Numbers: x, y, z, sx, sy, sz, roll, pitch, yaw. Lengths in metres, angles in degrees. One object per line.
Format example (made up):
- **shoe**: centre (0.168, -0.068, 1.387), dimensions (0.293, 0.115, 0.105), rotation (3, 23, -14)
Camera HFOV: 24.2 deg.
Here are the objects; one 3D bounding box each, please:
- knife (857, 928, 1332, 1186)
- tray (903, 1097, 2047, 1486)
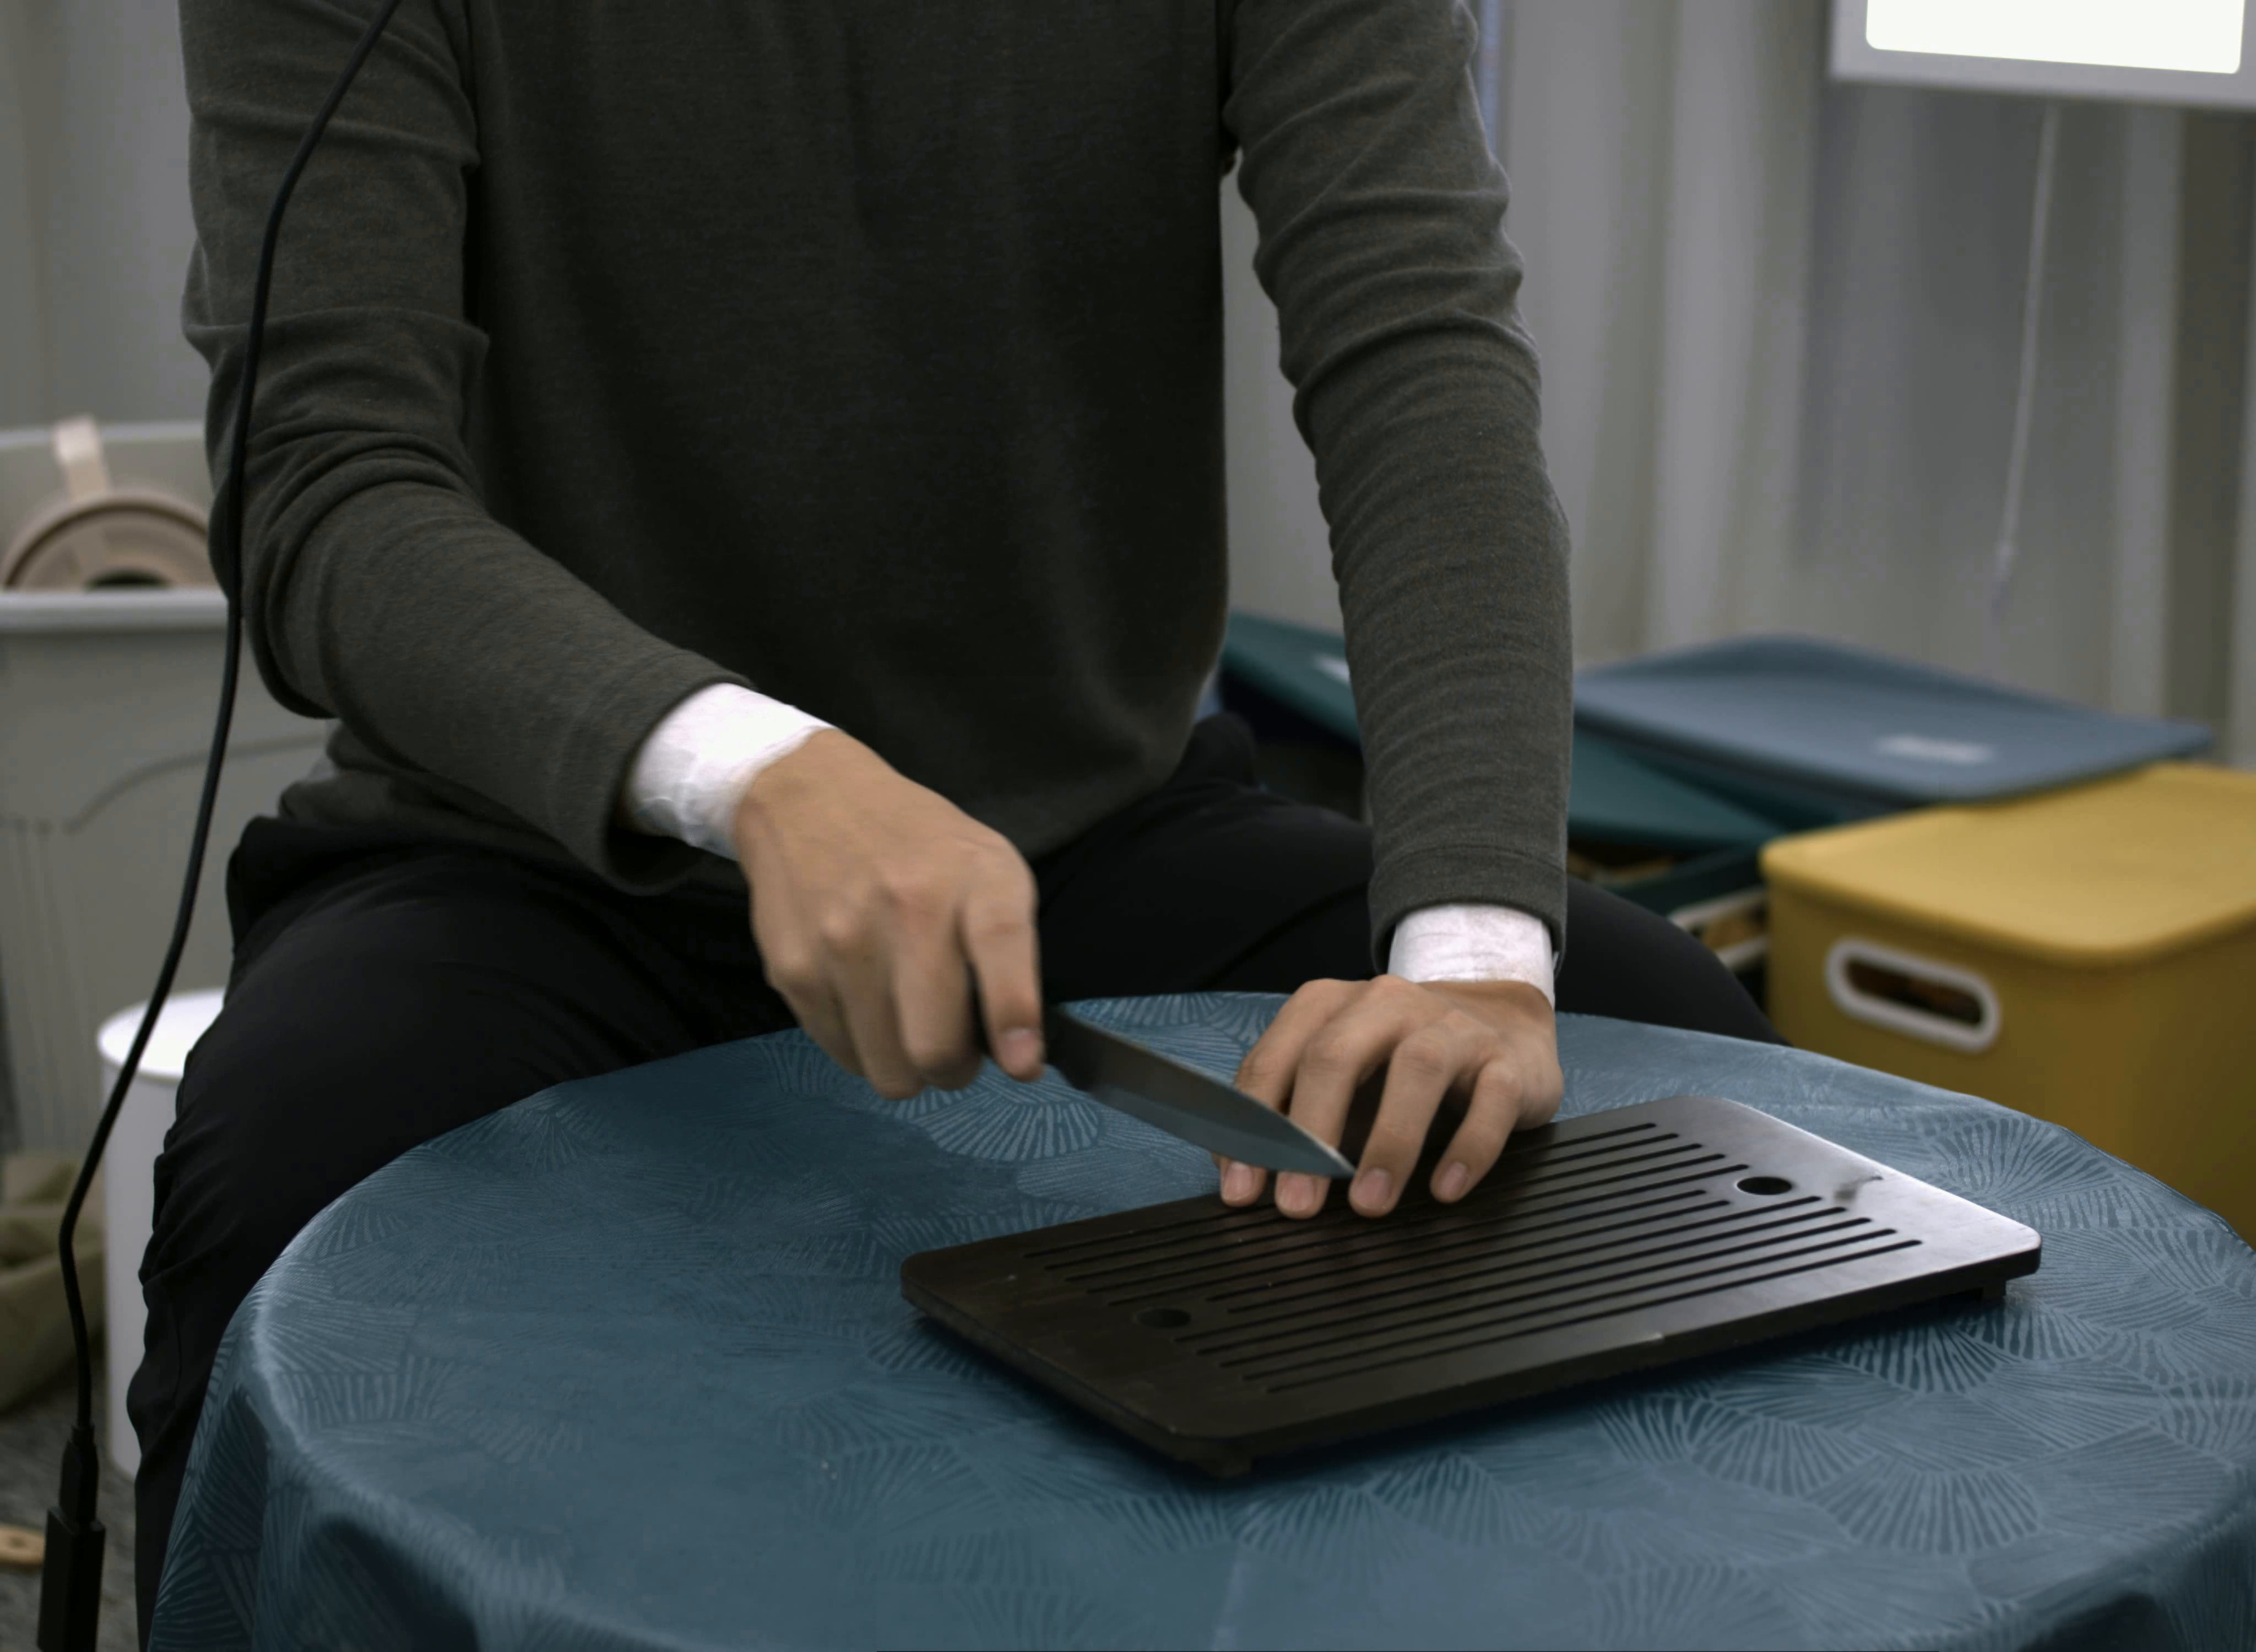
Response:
- **knife**: centre (-0.011, 0.064, 1.493), dimensions (0.016, 0.024, 0.235), rotation (-6, 17, -34)
- **tray**: centre (0.102, 0.131, 1.527), dimensions (0.307, 0.019, 0.168), rotation (-9, 18, -32)
